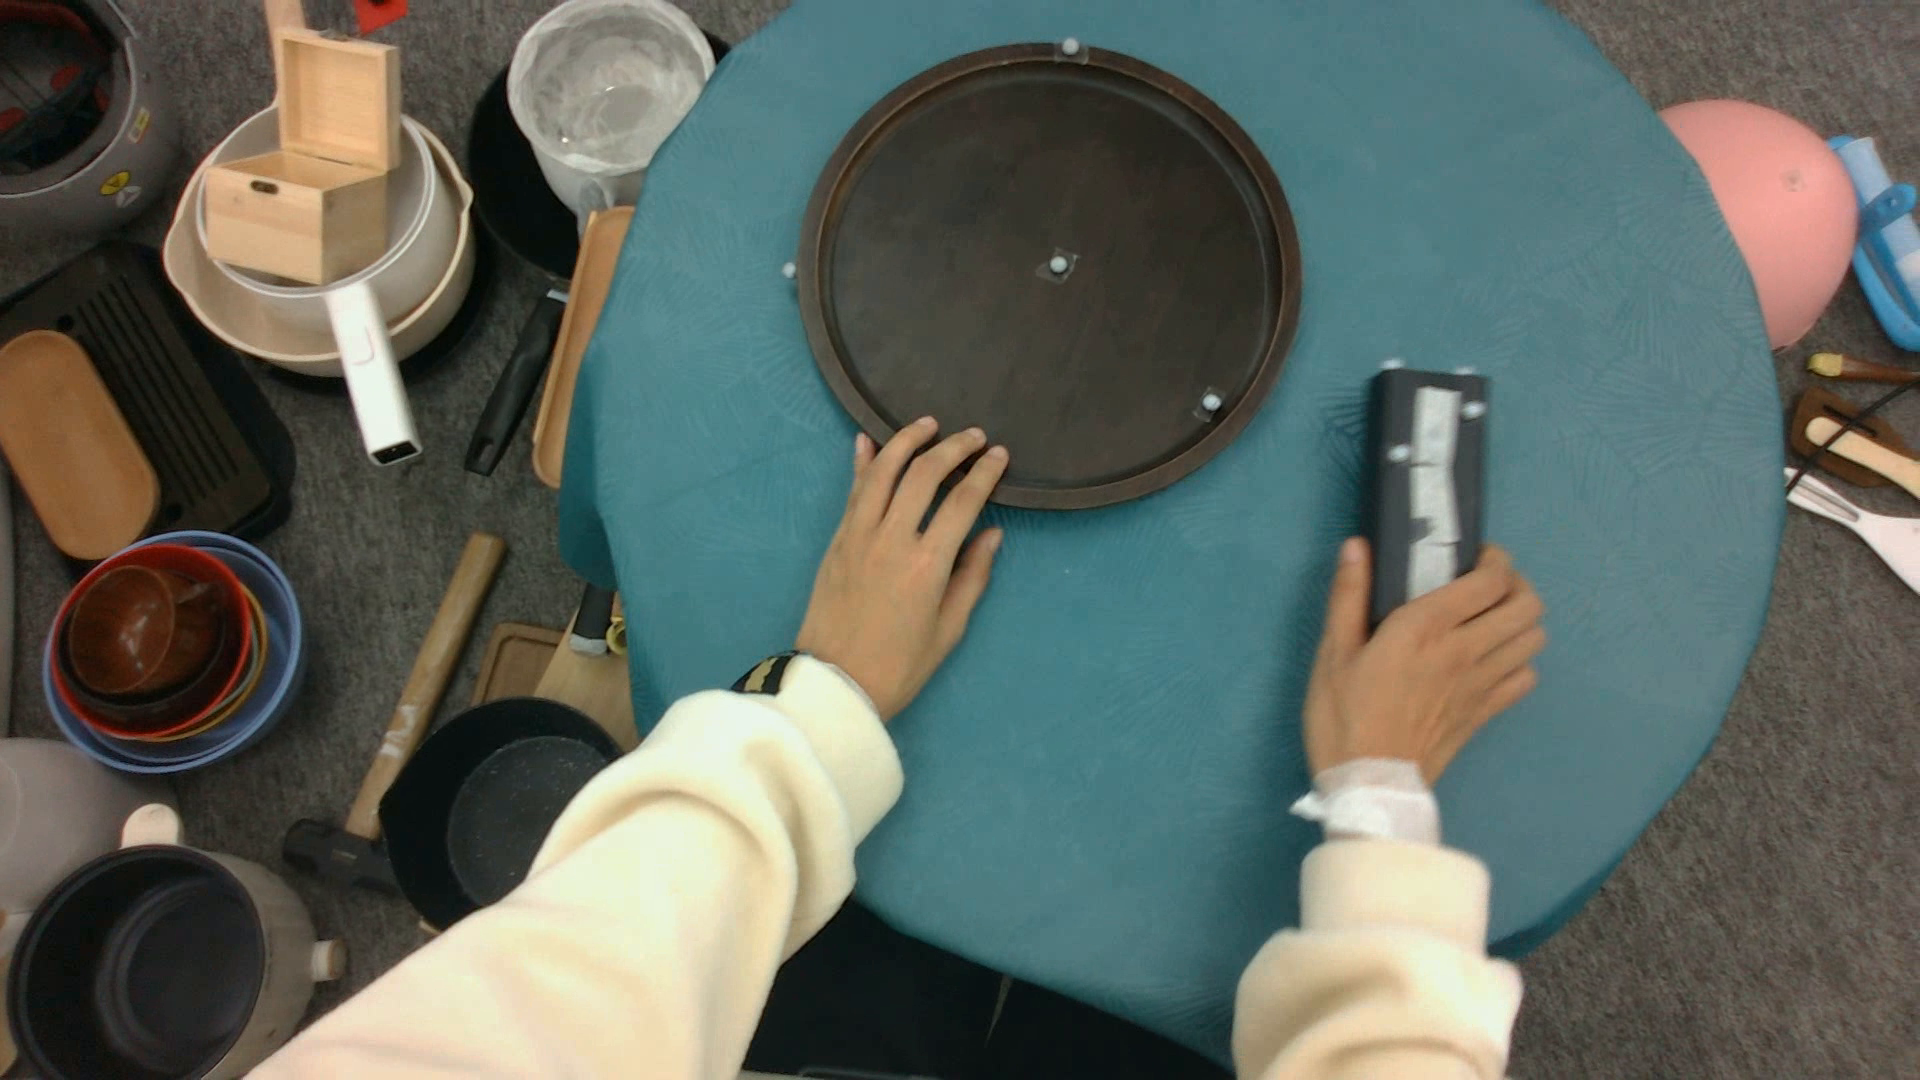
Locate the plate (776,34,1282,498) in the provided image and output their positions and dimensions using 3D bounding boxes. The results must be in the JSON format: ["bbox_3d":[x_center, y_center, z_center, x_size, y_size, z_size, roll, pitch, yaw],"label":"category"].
[{"bbox_3d":[0.035,-0.140,0.694,0.255,0.029,0.255,1,73,-3],"label":"plate"}]

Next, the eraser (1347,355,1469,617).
[{"bbox_3d":[0.213,-0.026,0.658,0.053,0.030,0.126,4,78,1],"label":"eraser"}]
